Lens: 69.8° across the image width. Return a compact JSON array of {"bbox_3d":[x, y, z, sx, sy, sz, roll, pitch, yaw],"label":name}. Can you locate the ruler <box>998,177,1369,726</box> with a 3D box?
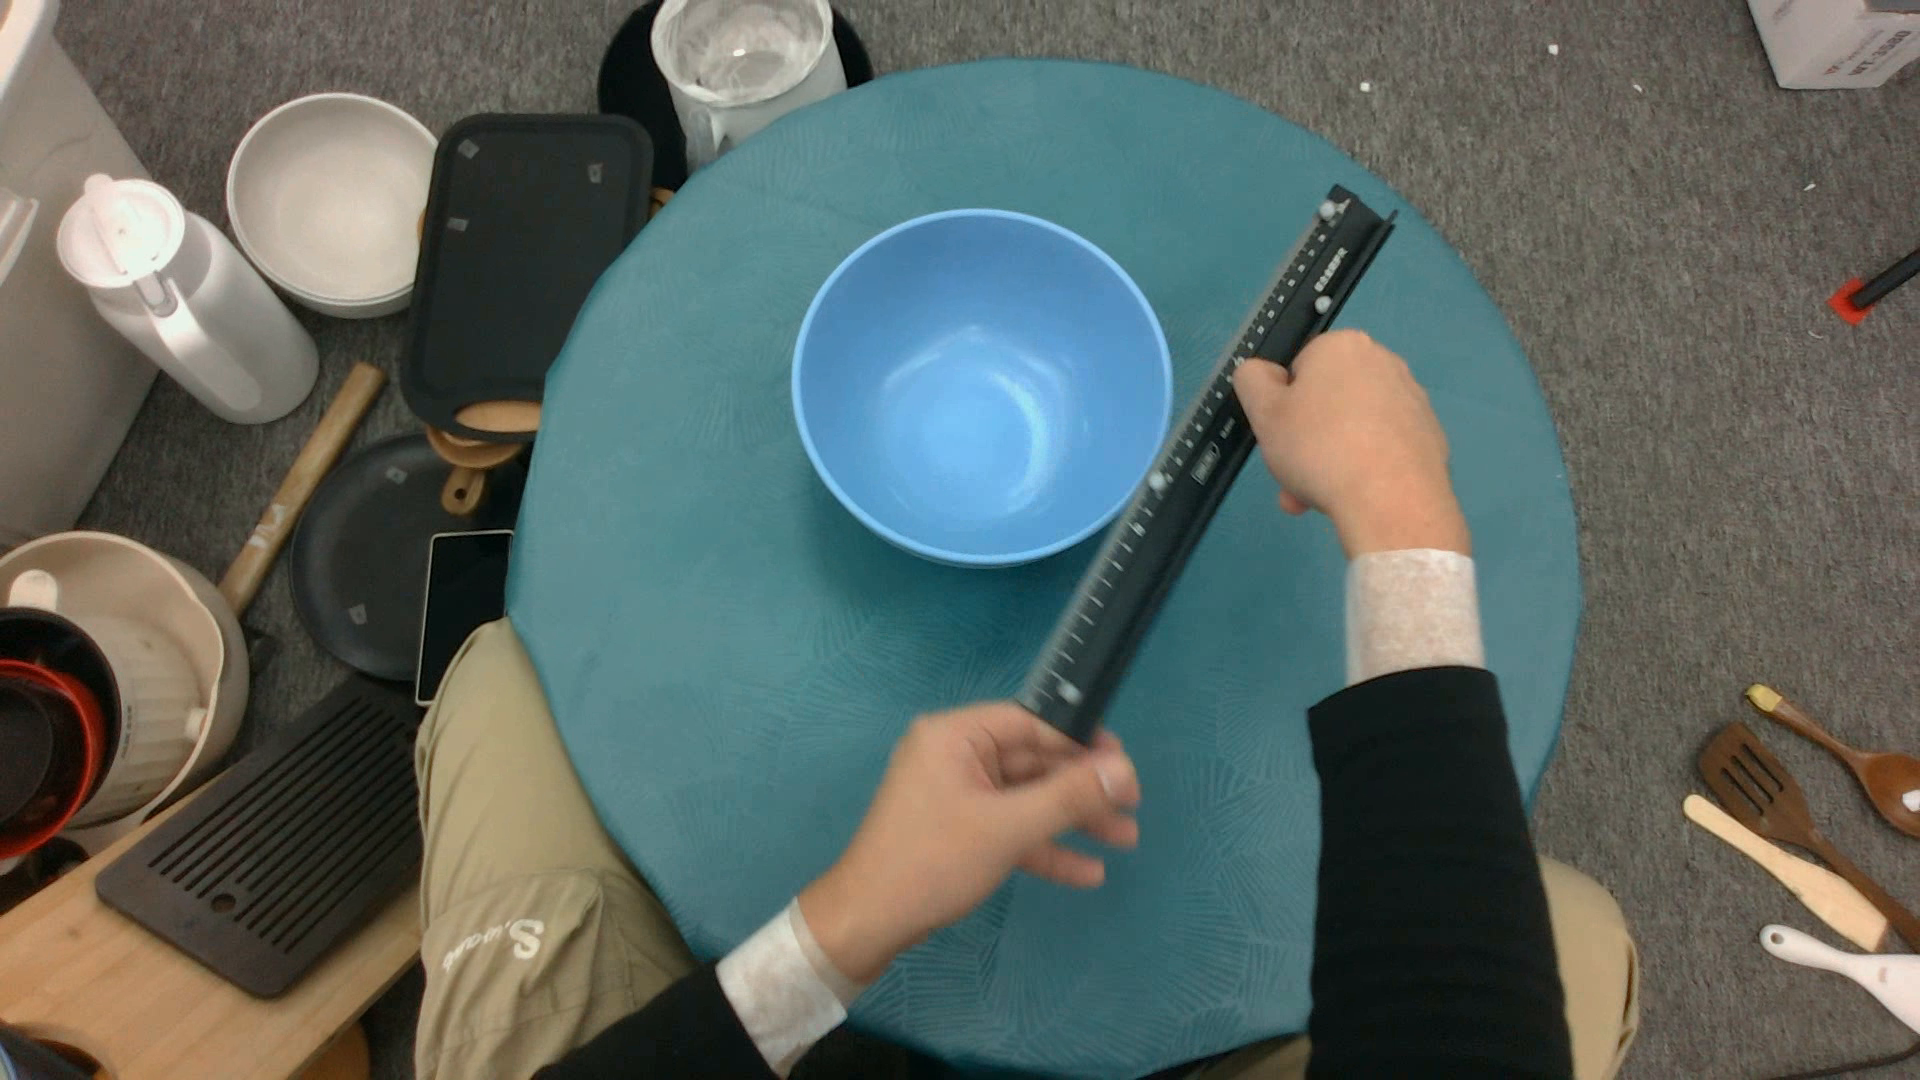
[{"bbox_3d":[0.114,-0.052,0.663,0.039,0.017,0.313,34,75,-4],"label":"ruler"}]

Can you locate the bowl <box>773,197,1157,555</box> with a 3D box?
[{"bbox_3d":[0.000,-0.075,0.744,0.196,0.095,0.197,1,72,-4],"label":"bowl"}]
